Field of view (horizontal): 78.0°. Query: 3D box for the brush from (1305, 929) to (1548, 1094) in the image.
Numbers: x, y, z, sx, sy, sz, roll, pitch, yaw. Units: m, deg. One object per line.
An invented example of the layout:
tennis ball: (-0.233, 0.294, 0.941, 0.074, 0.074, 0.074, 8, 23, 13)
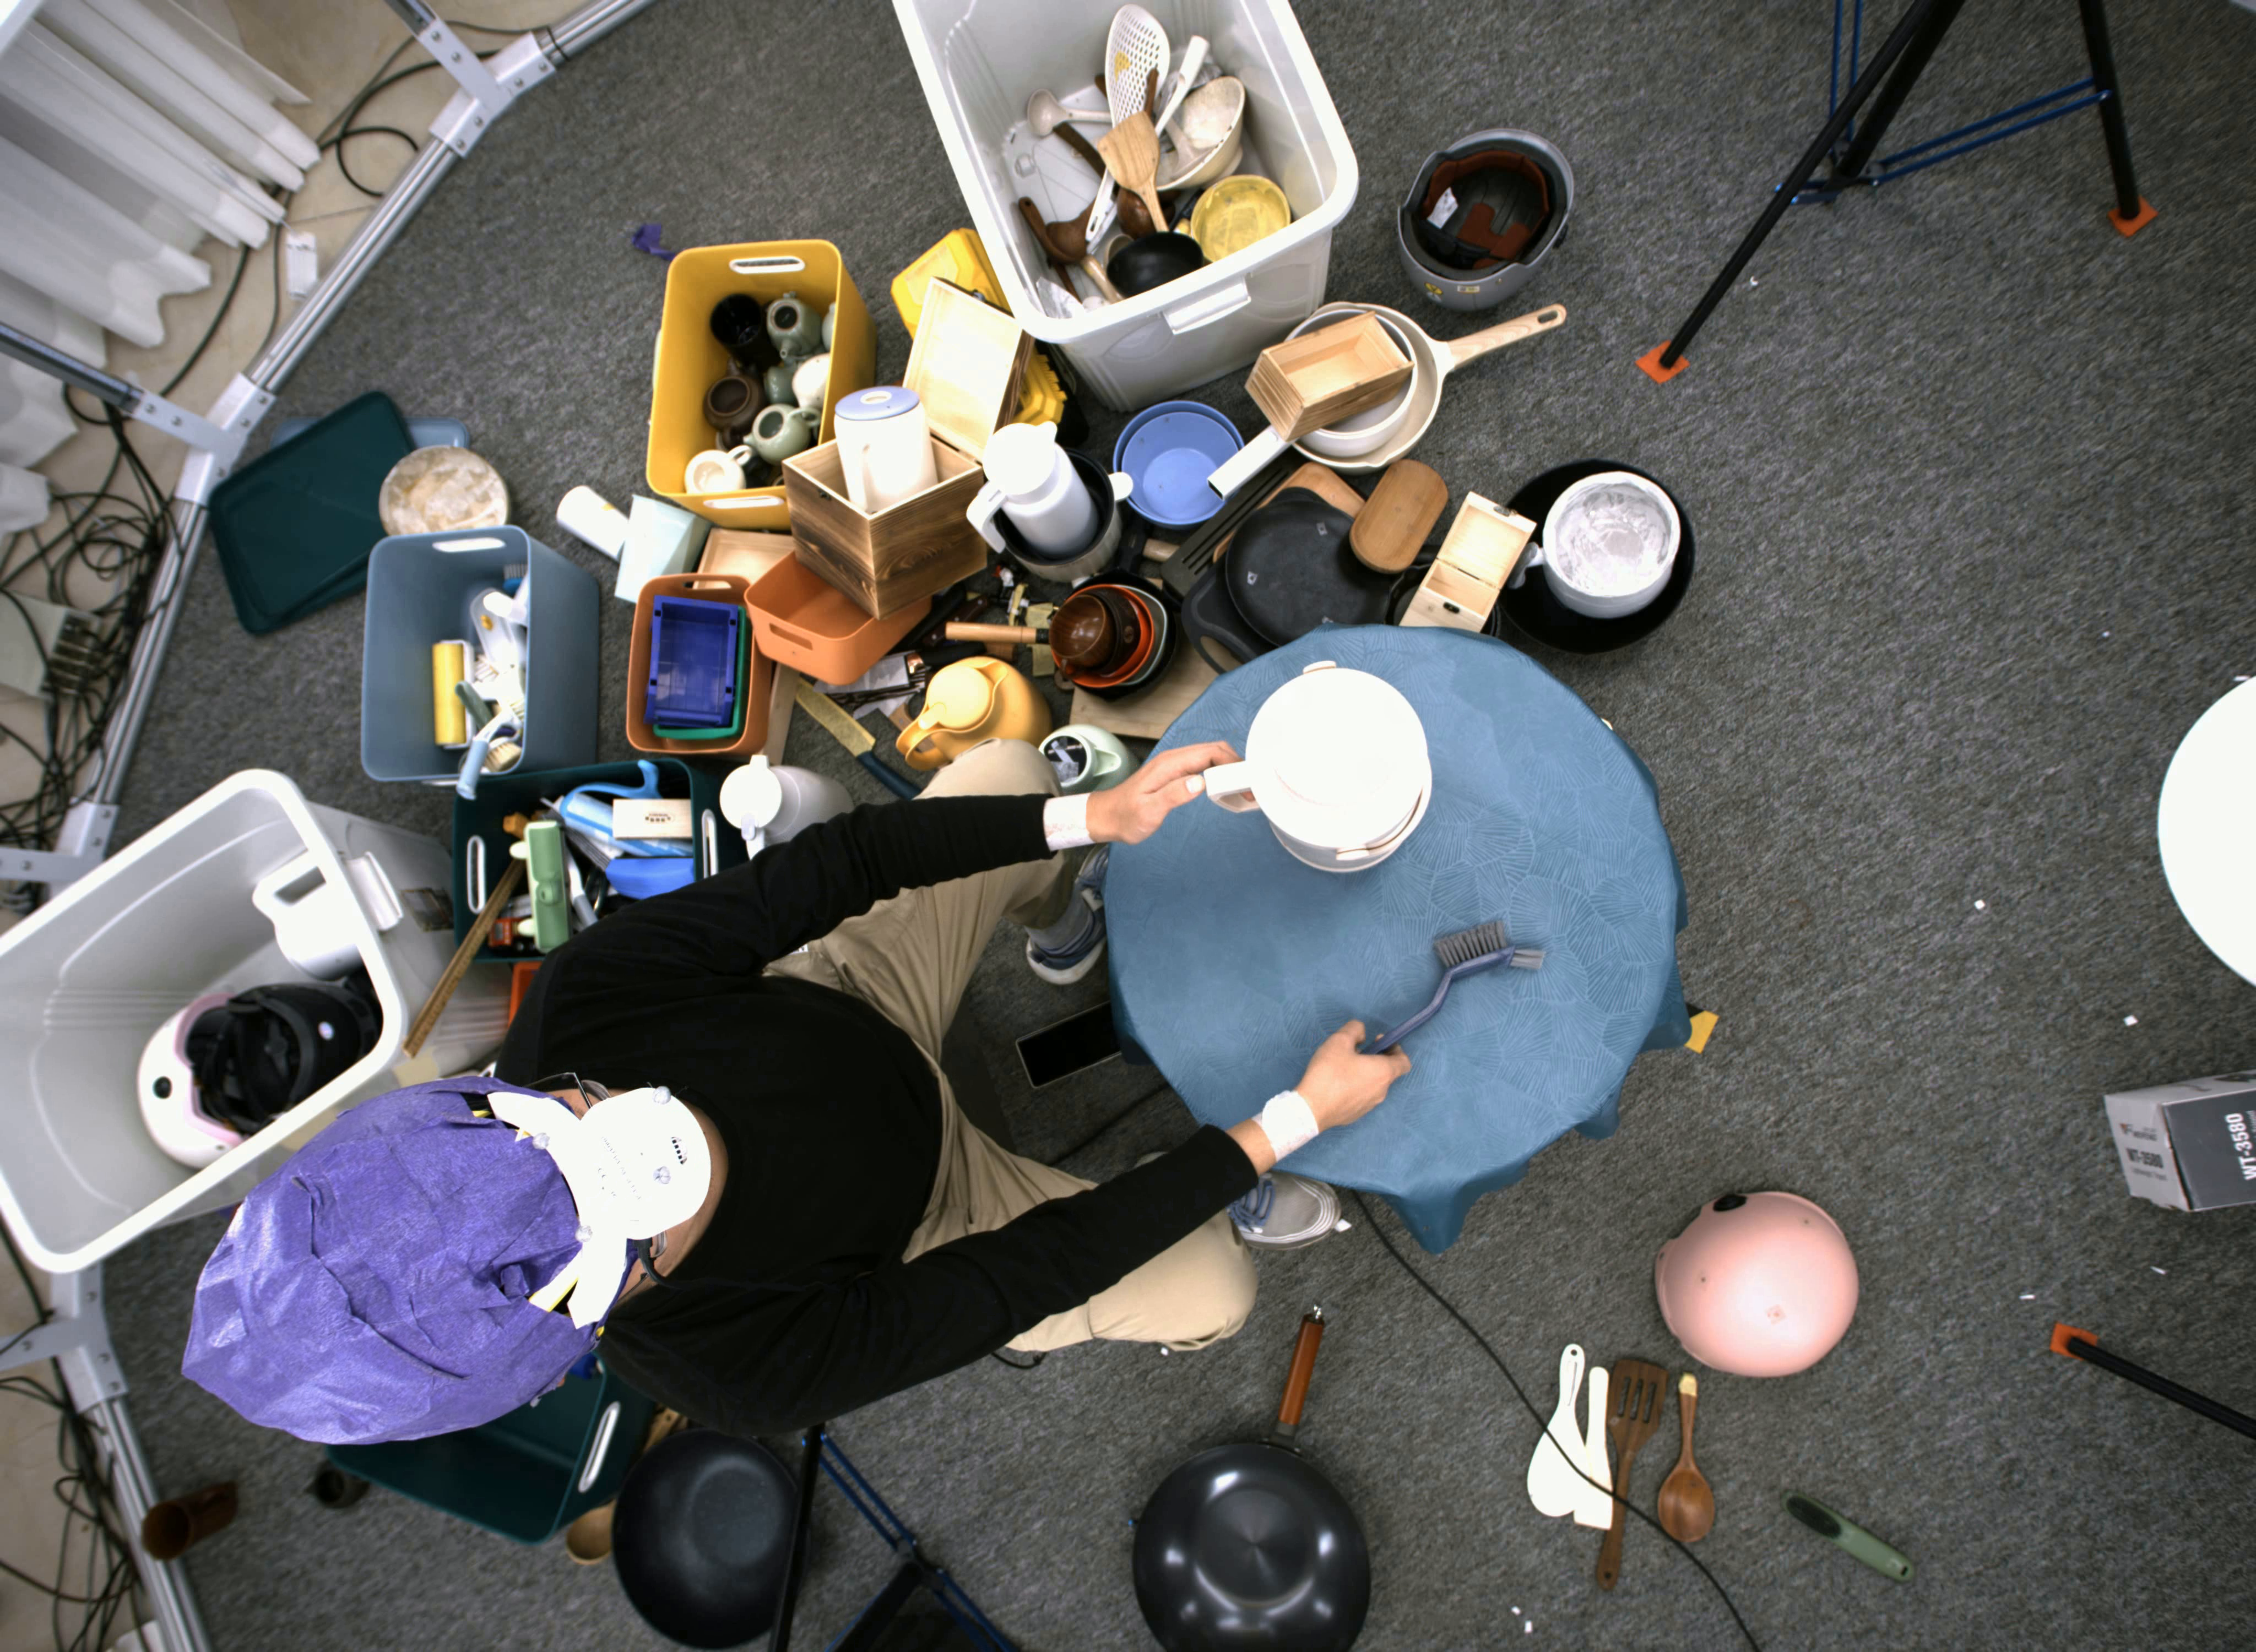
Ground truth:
brush: (0.301, 0.200, 1.408, 0.271, 0.034, 0.095, -41, 72, -8)

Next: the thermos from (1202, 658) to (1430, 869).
thermos: (0.179, -0.051, 1.282, 0.208, 0.406, 0.174, -11, 84, 8)
